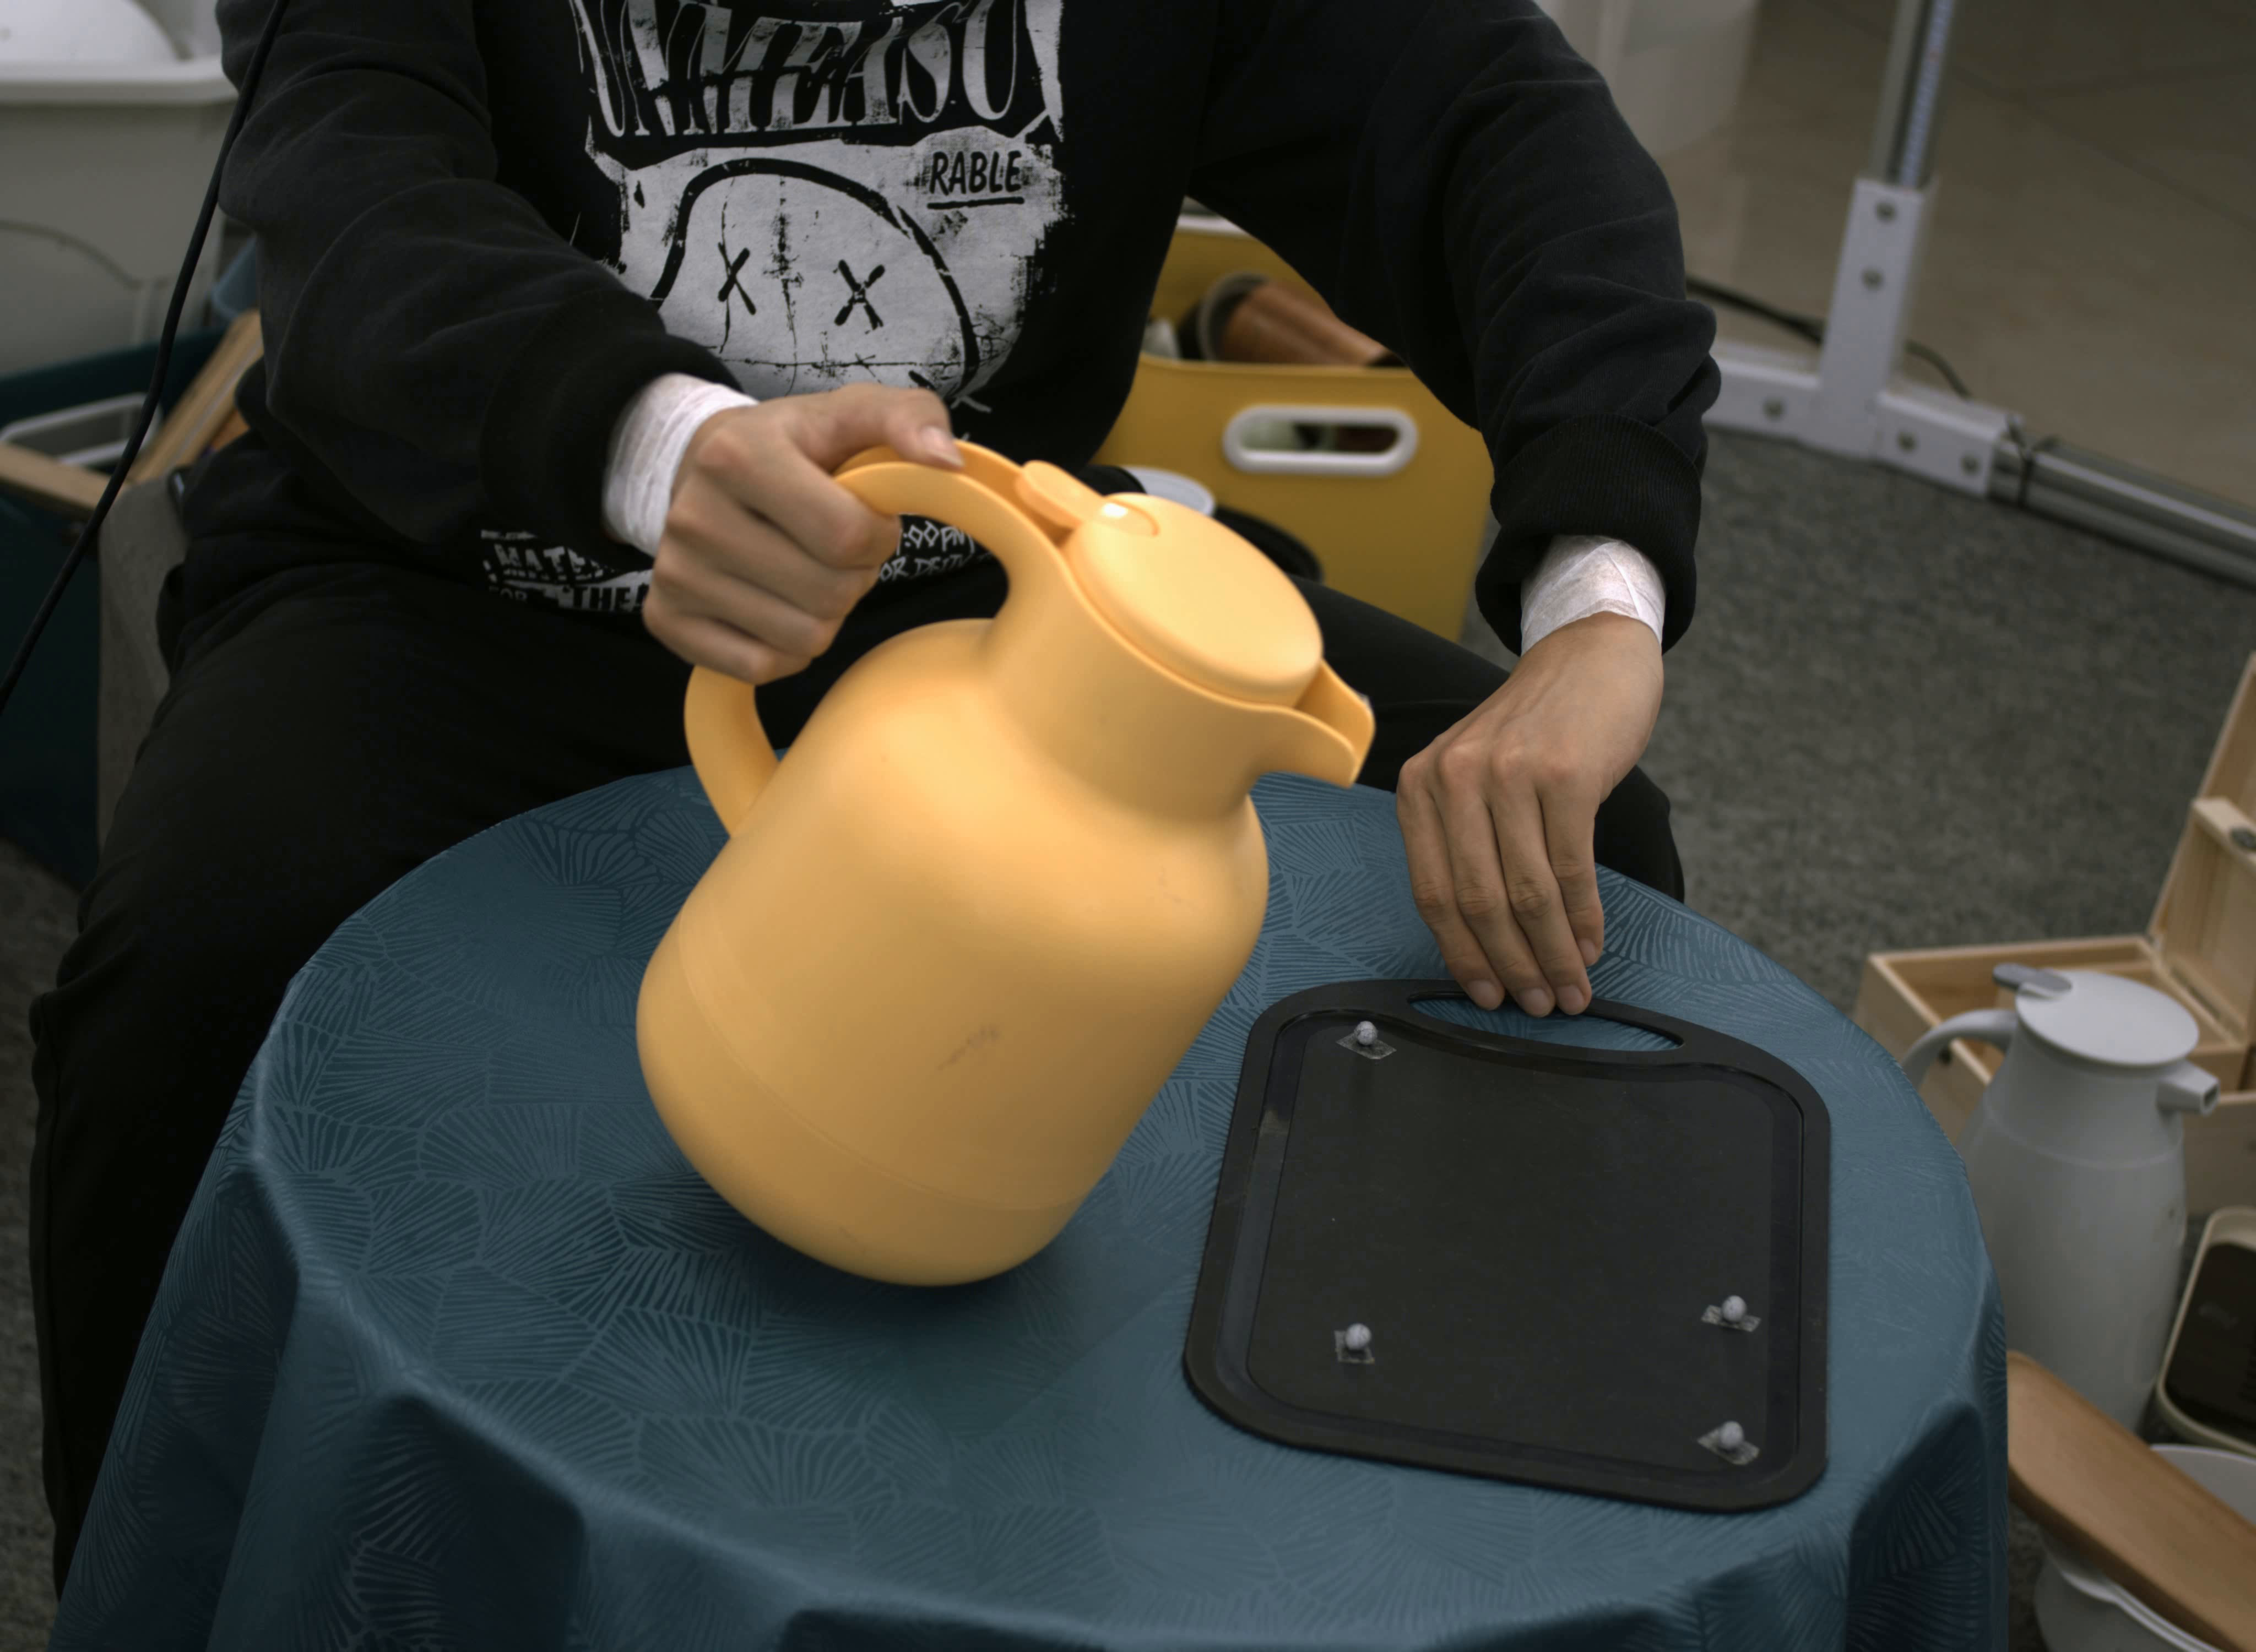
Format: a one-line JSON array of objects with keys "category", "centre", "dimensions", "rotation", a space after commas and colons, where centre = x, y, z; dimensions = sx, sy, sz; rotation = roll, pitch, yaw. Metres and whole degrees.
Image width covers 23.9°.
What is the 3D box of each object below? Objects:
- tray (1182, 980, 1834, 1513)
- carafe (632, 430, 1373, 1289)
[{"category": "tray", "centre": [0.135, 0.132, 1.812], "dimensions": [0.211, 0.010, 0.327], "rotation": [9, 27, 4]}, {"category": "carafe", "centre": [-0.054, 0.002, 1.703], "dimensions": [0.202, 0.260, 0.163], "rotation": [36, 26, 3]}]
